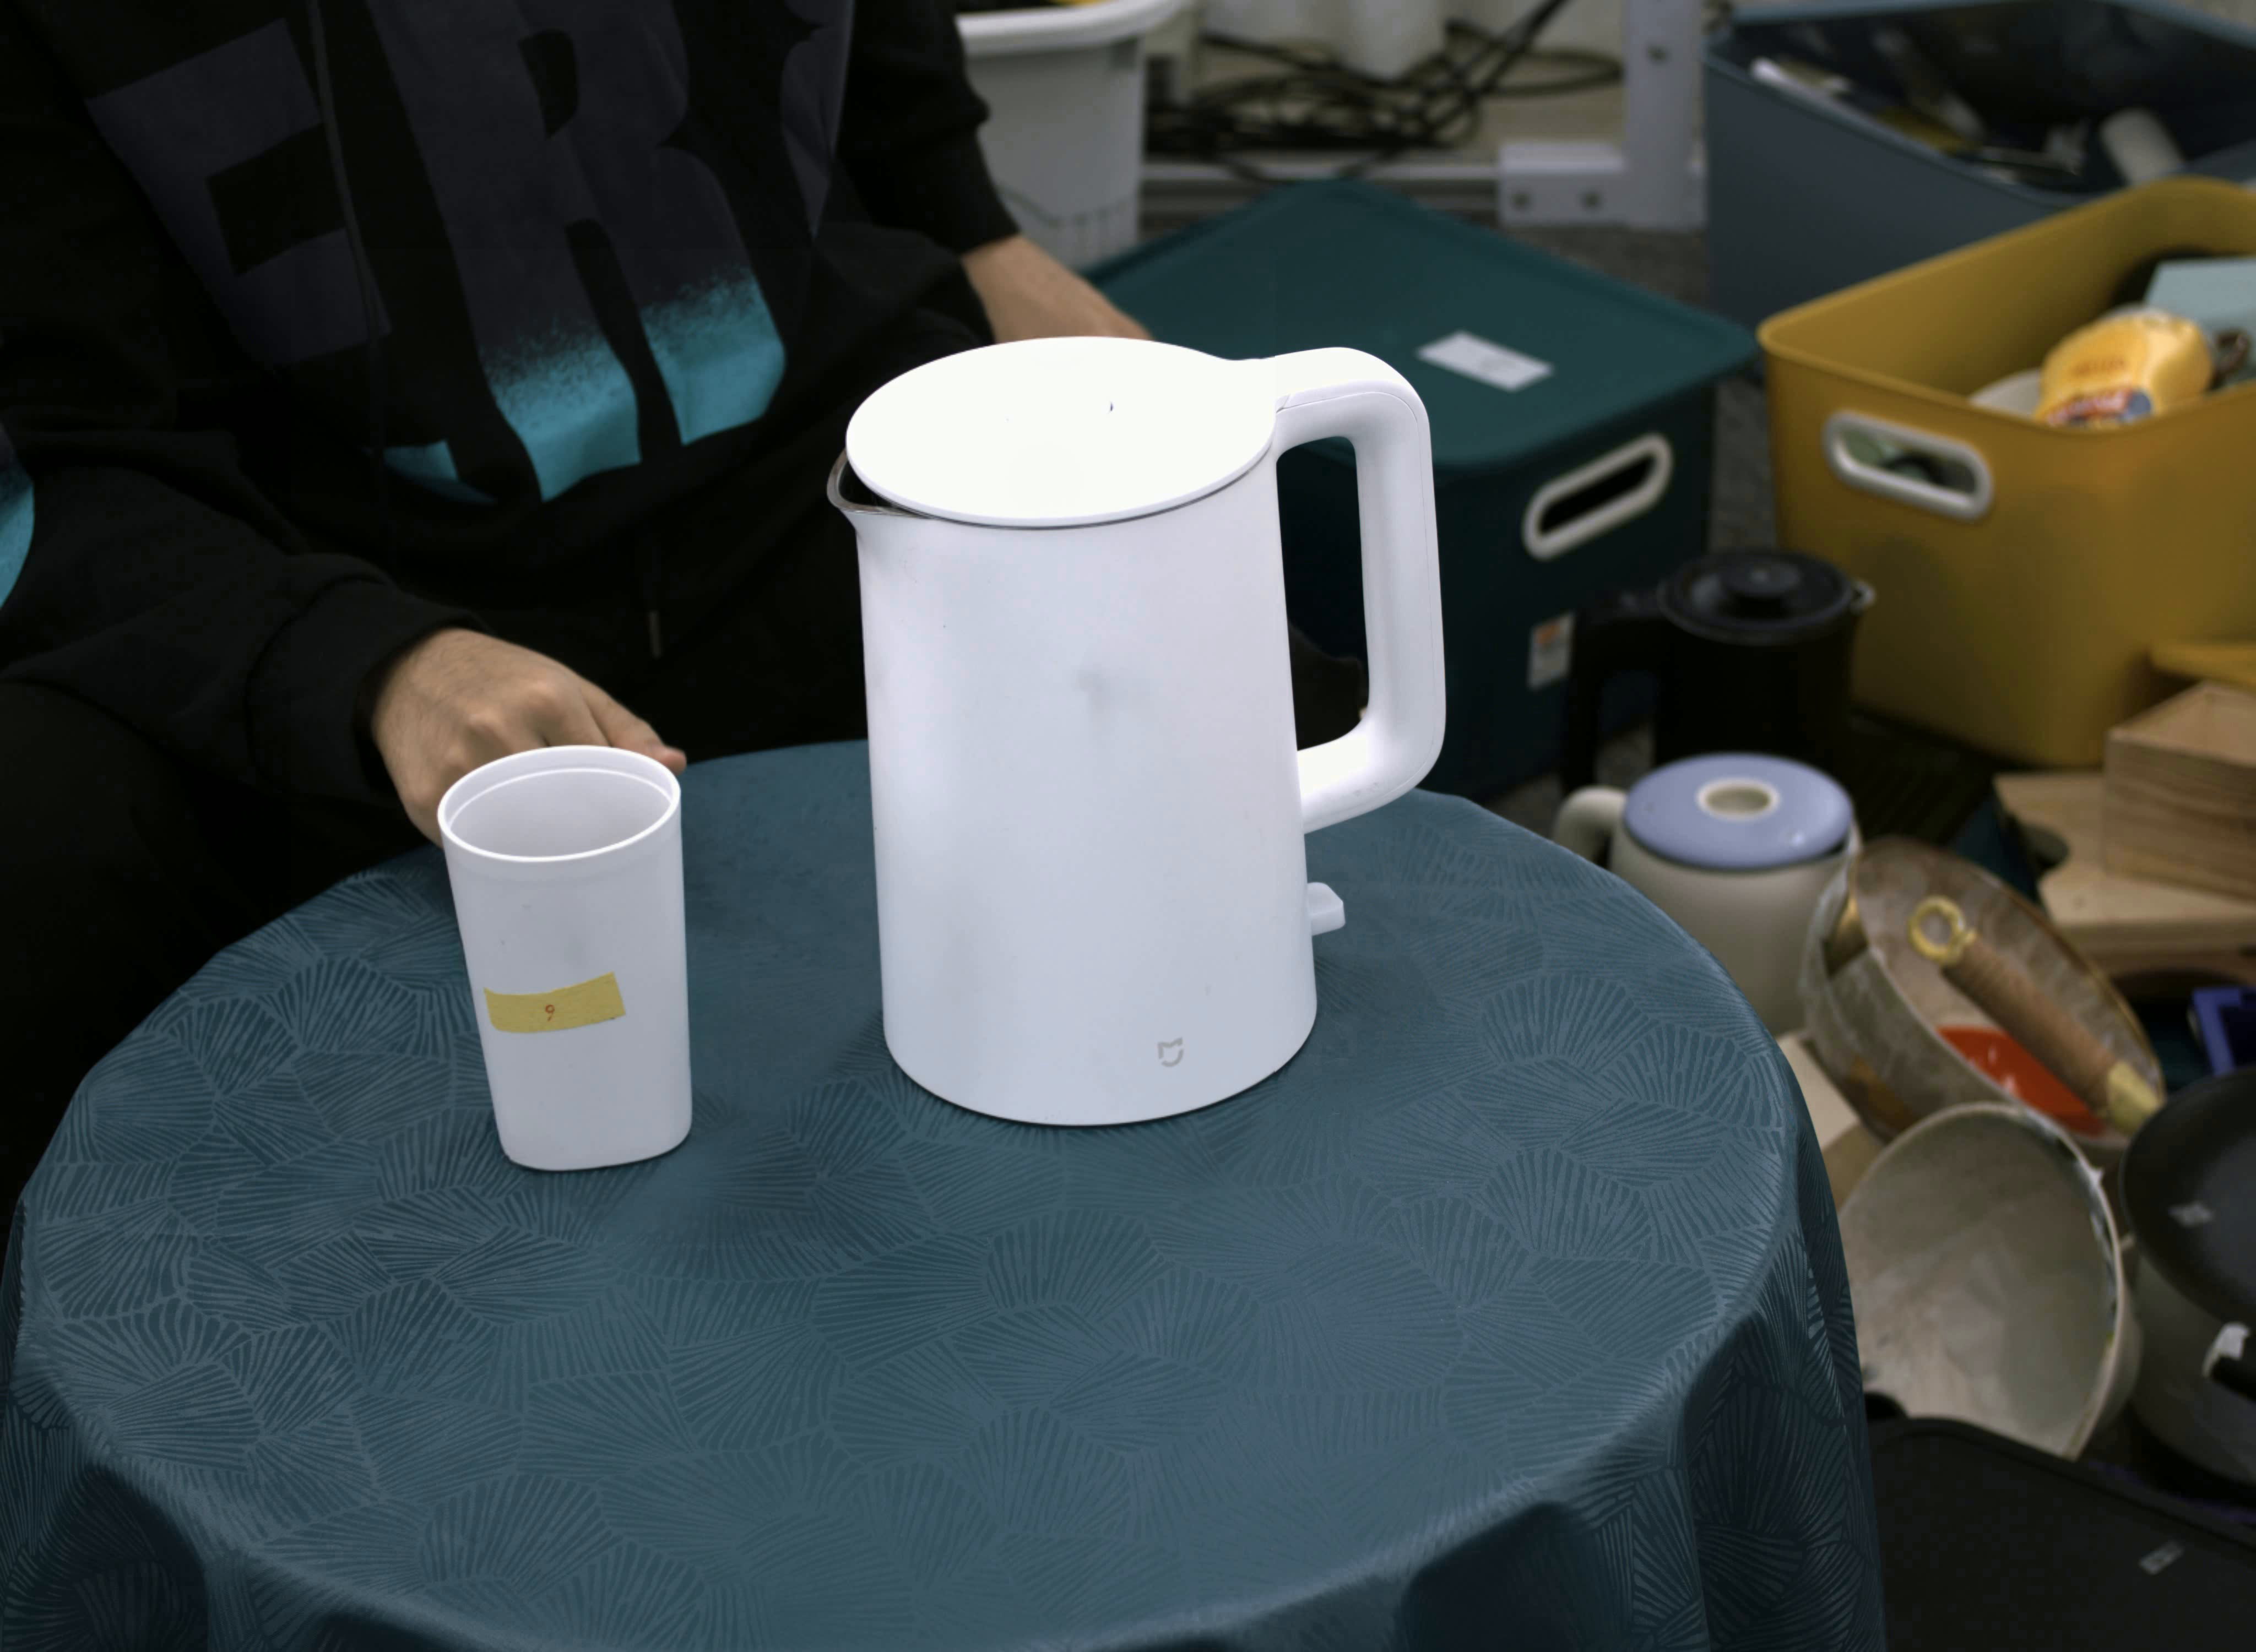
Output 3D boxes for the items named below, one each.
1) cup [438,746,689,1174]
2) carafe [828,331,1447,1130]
[{"bbox_3d":[-0.185,0.047,1.888,0.081,0.124,0.083,-2,26,1],"label":"cup"},{"bbox_3d":[0.009,-0.039,1.920,0.214,0.237,0.153,-14,30,-18],"label":"carafe"}]
